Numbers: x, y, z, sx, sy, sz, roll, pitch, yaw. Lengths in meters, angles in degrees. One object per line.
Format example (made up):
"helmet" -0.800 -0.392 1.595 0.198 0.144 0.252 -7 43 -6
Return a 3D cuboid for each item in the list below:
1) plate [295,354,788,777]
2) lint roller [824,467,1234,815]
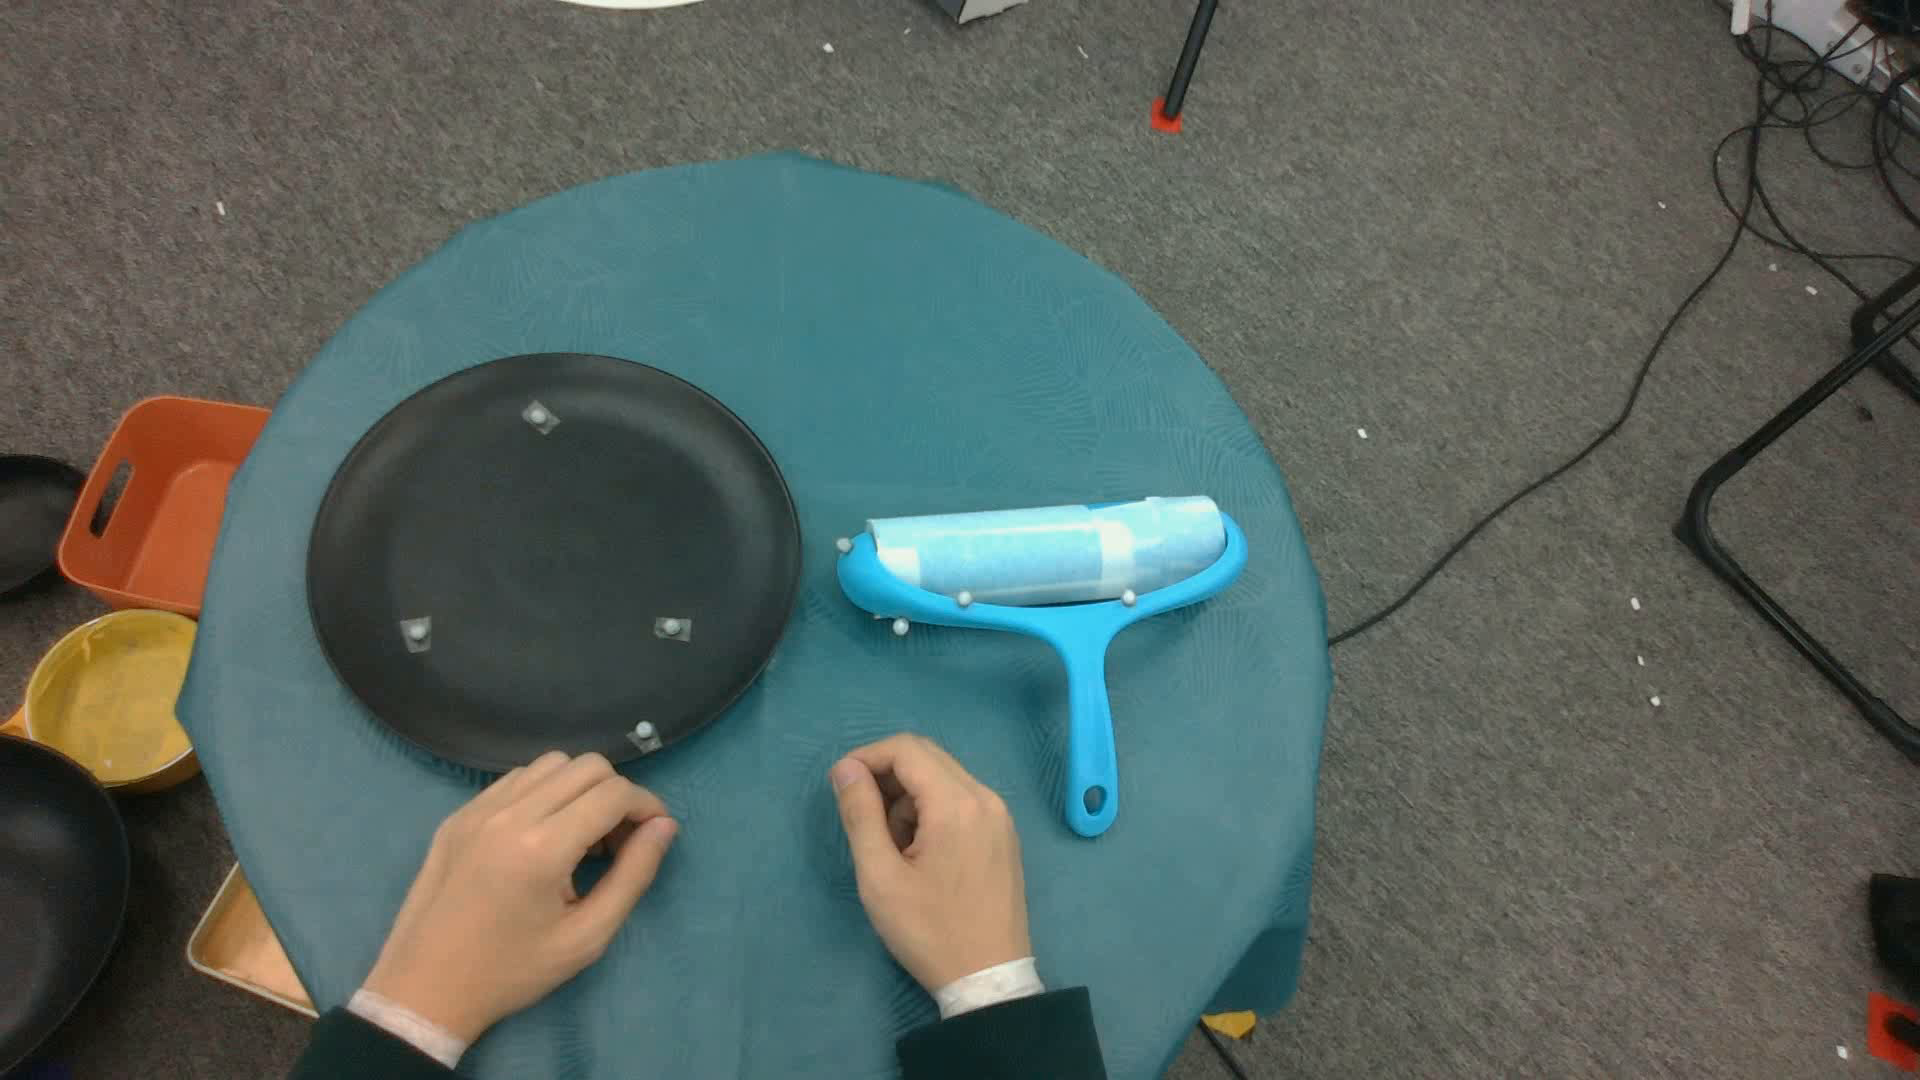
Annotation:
"plate" -0.213 0.009 0.718 0.244 0.023 0.245 4 62 -8
"lint roller" 0.054 0.050 0.728 0.229 0.067 0.181 -9 65 -16
